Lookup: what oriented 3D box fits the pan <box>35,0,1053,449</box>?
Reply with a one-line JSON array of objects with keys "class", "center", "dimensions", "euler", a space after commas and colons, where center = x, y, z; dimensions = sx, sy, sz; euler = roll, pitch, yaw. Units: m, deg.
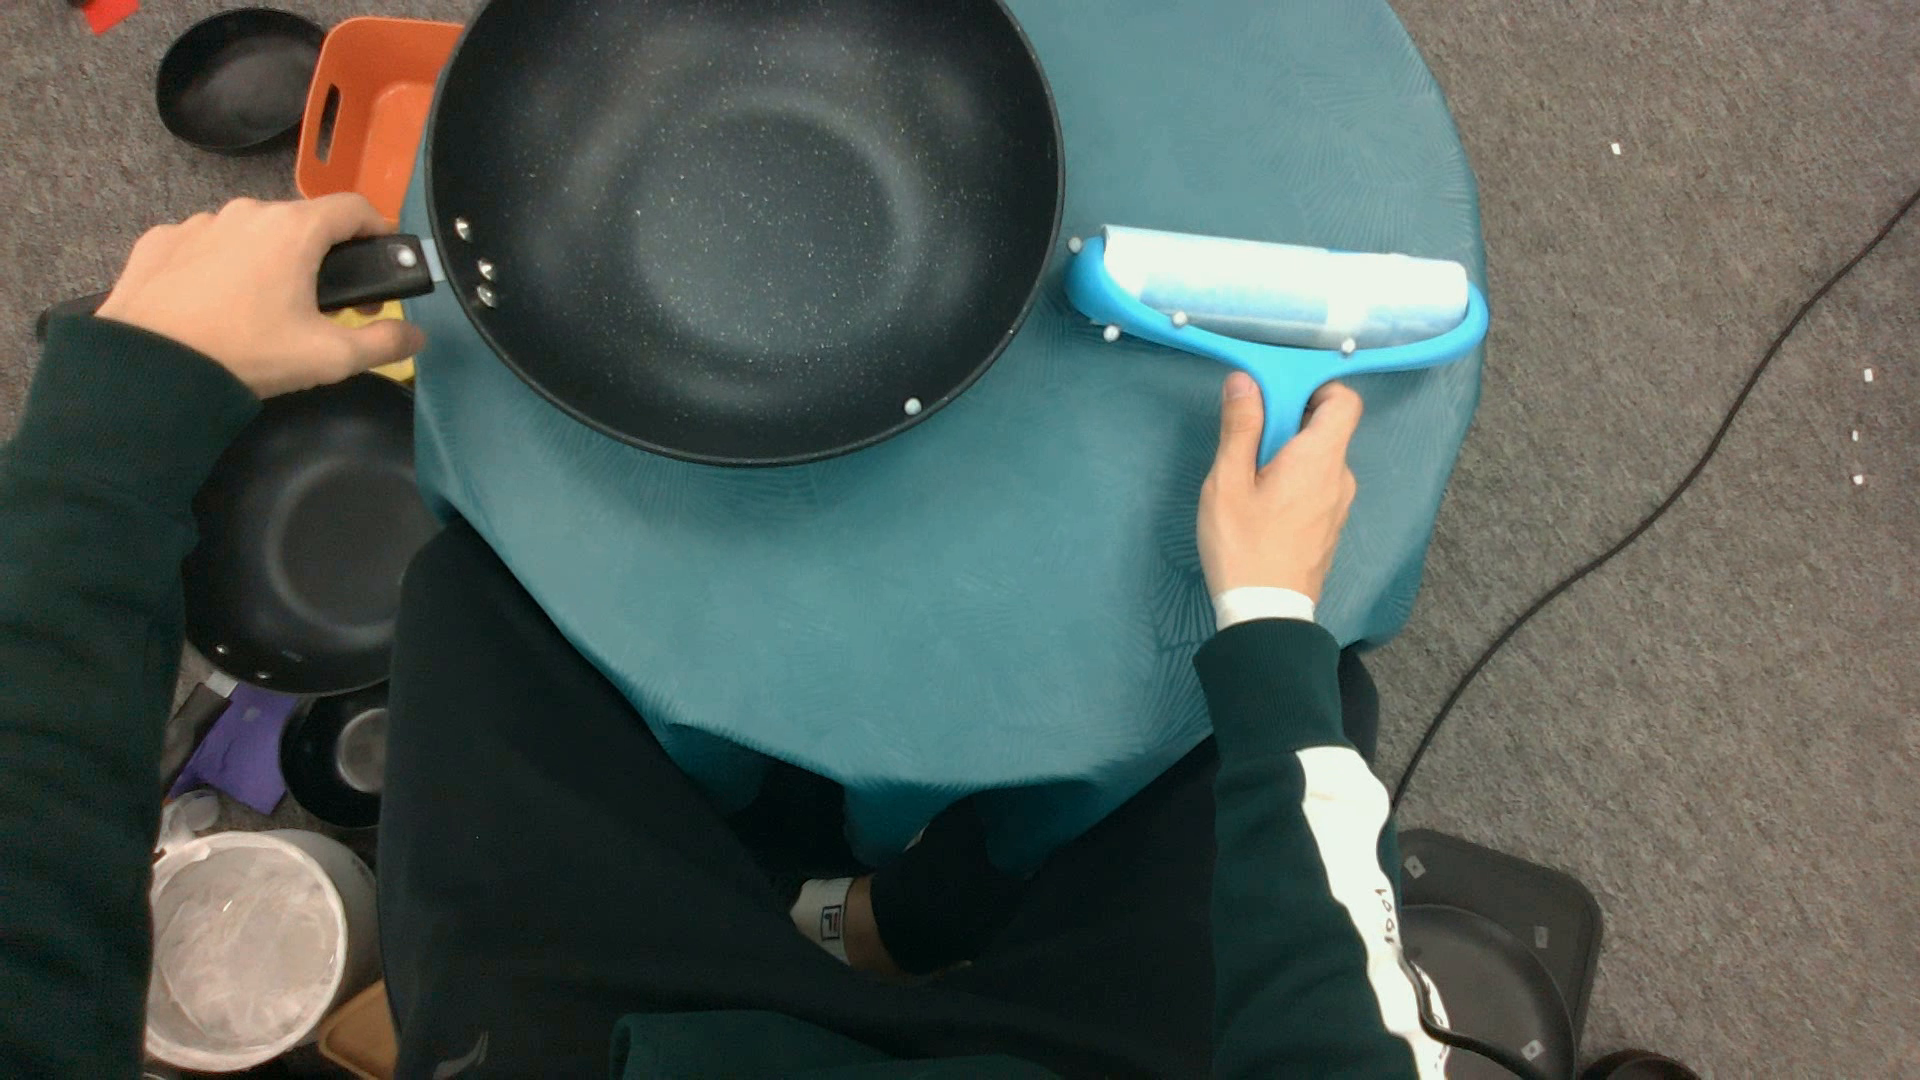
[{"class": "pan", "center": [-0.187, -0.158, 0.689], "dimensions": [0.477, 0.111, 0.310], "euler": [-21, 79, -9]}]

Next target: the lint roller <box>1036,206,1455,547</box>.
[{"class": "lint roller", "center": [0.156, -0.090, 0.731], "dimensions": [0.229, 0.067, 0.180], "euler": [1, 74, -8]}]
